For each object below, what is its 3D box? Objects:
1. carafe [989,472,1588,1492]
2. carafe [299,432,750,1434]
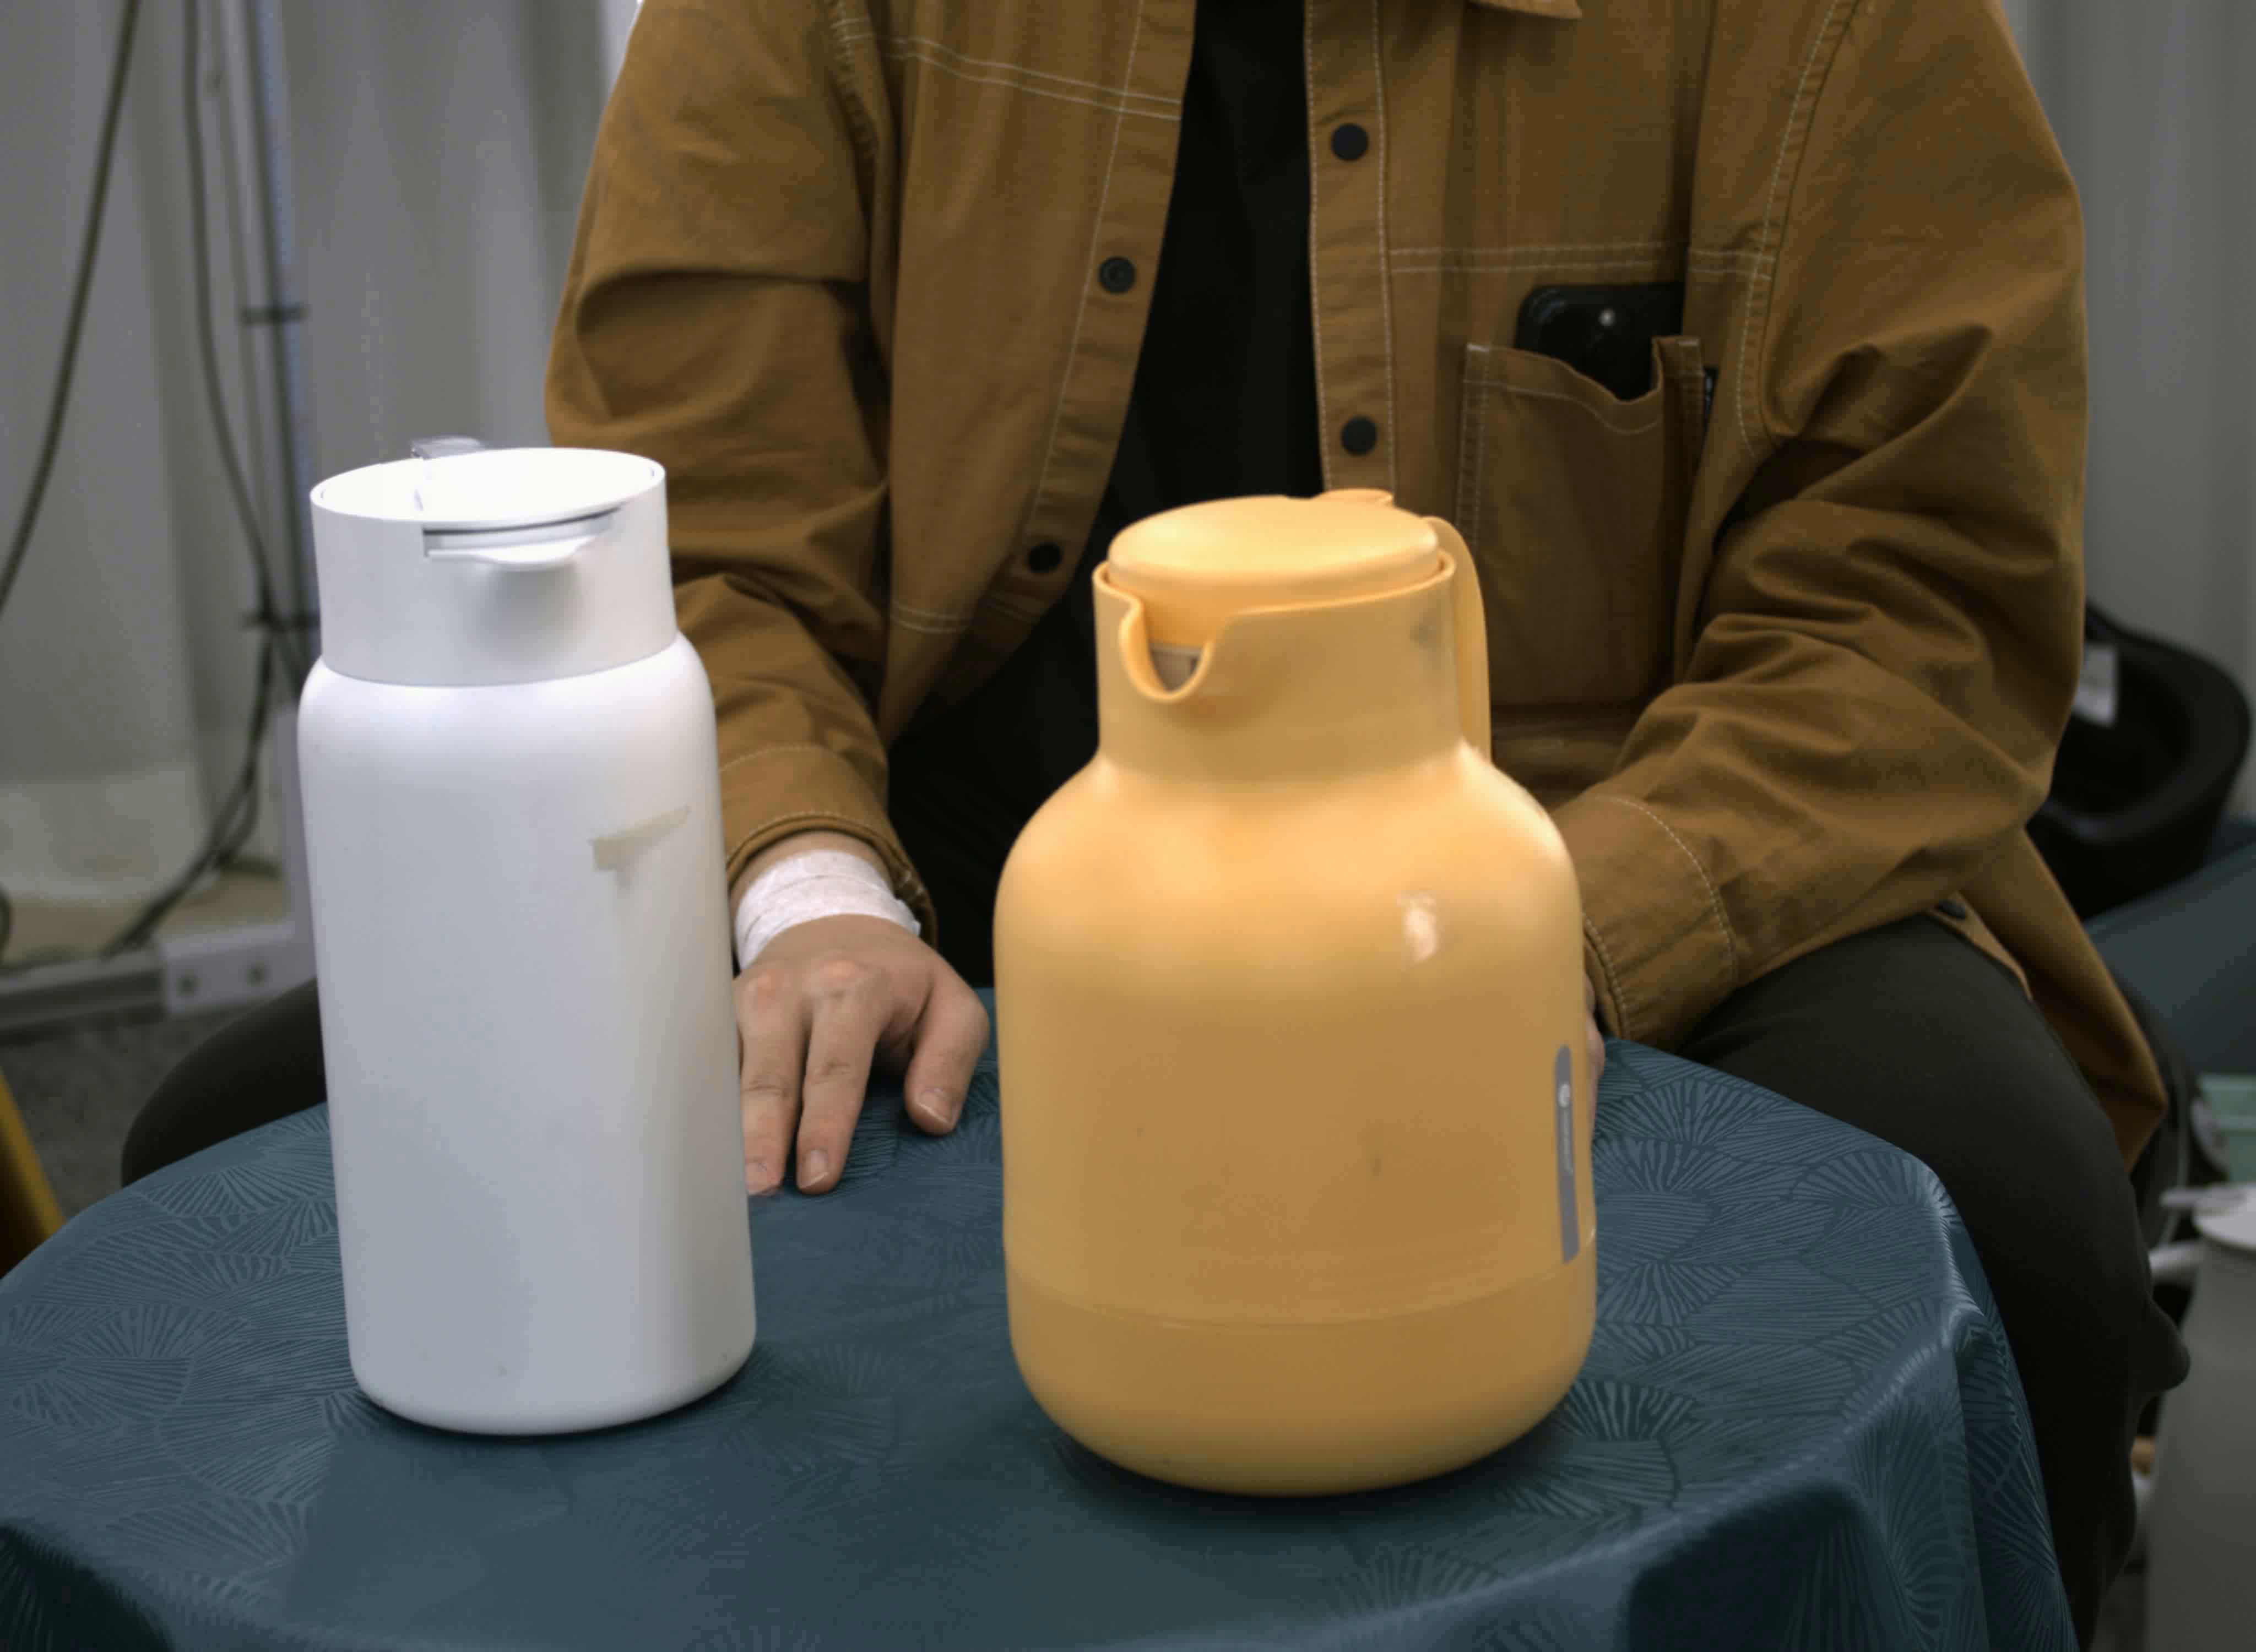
[{"bbox_3d":[0.053,0.034,1.498,0.164,0.259,0.203,8,19,27],"label":"carafe"},{"bbox_3d":[-0.178,0.026,1.565,0.123,0.268,0.174,-9,15,-16],"label":"carafe"}]
